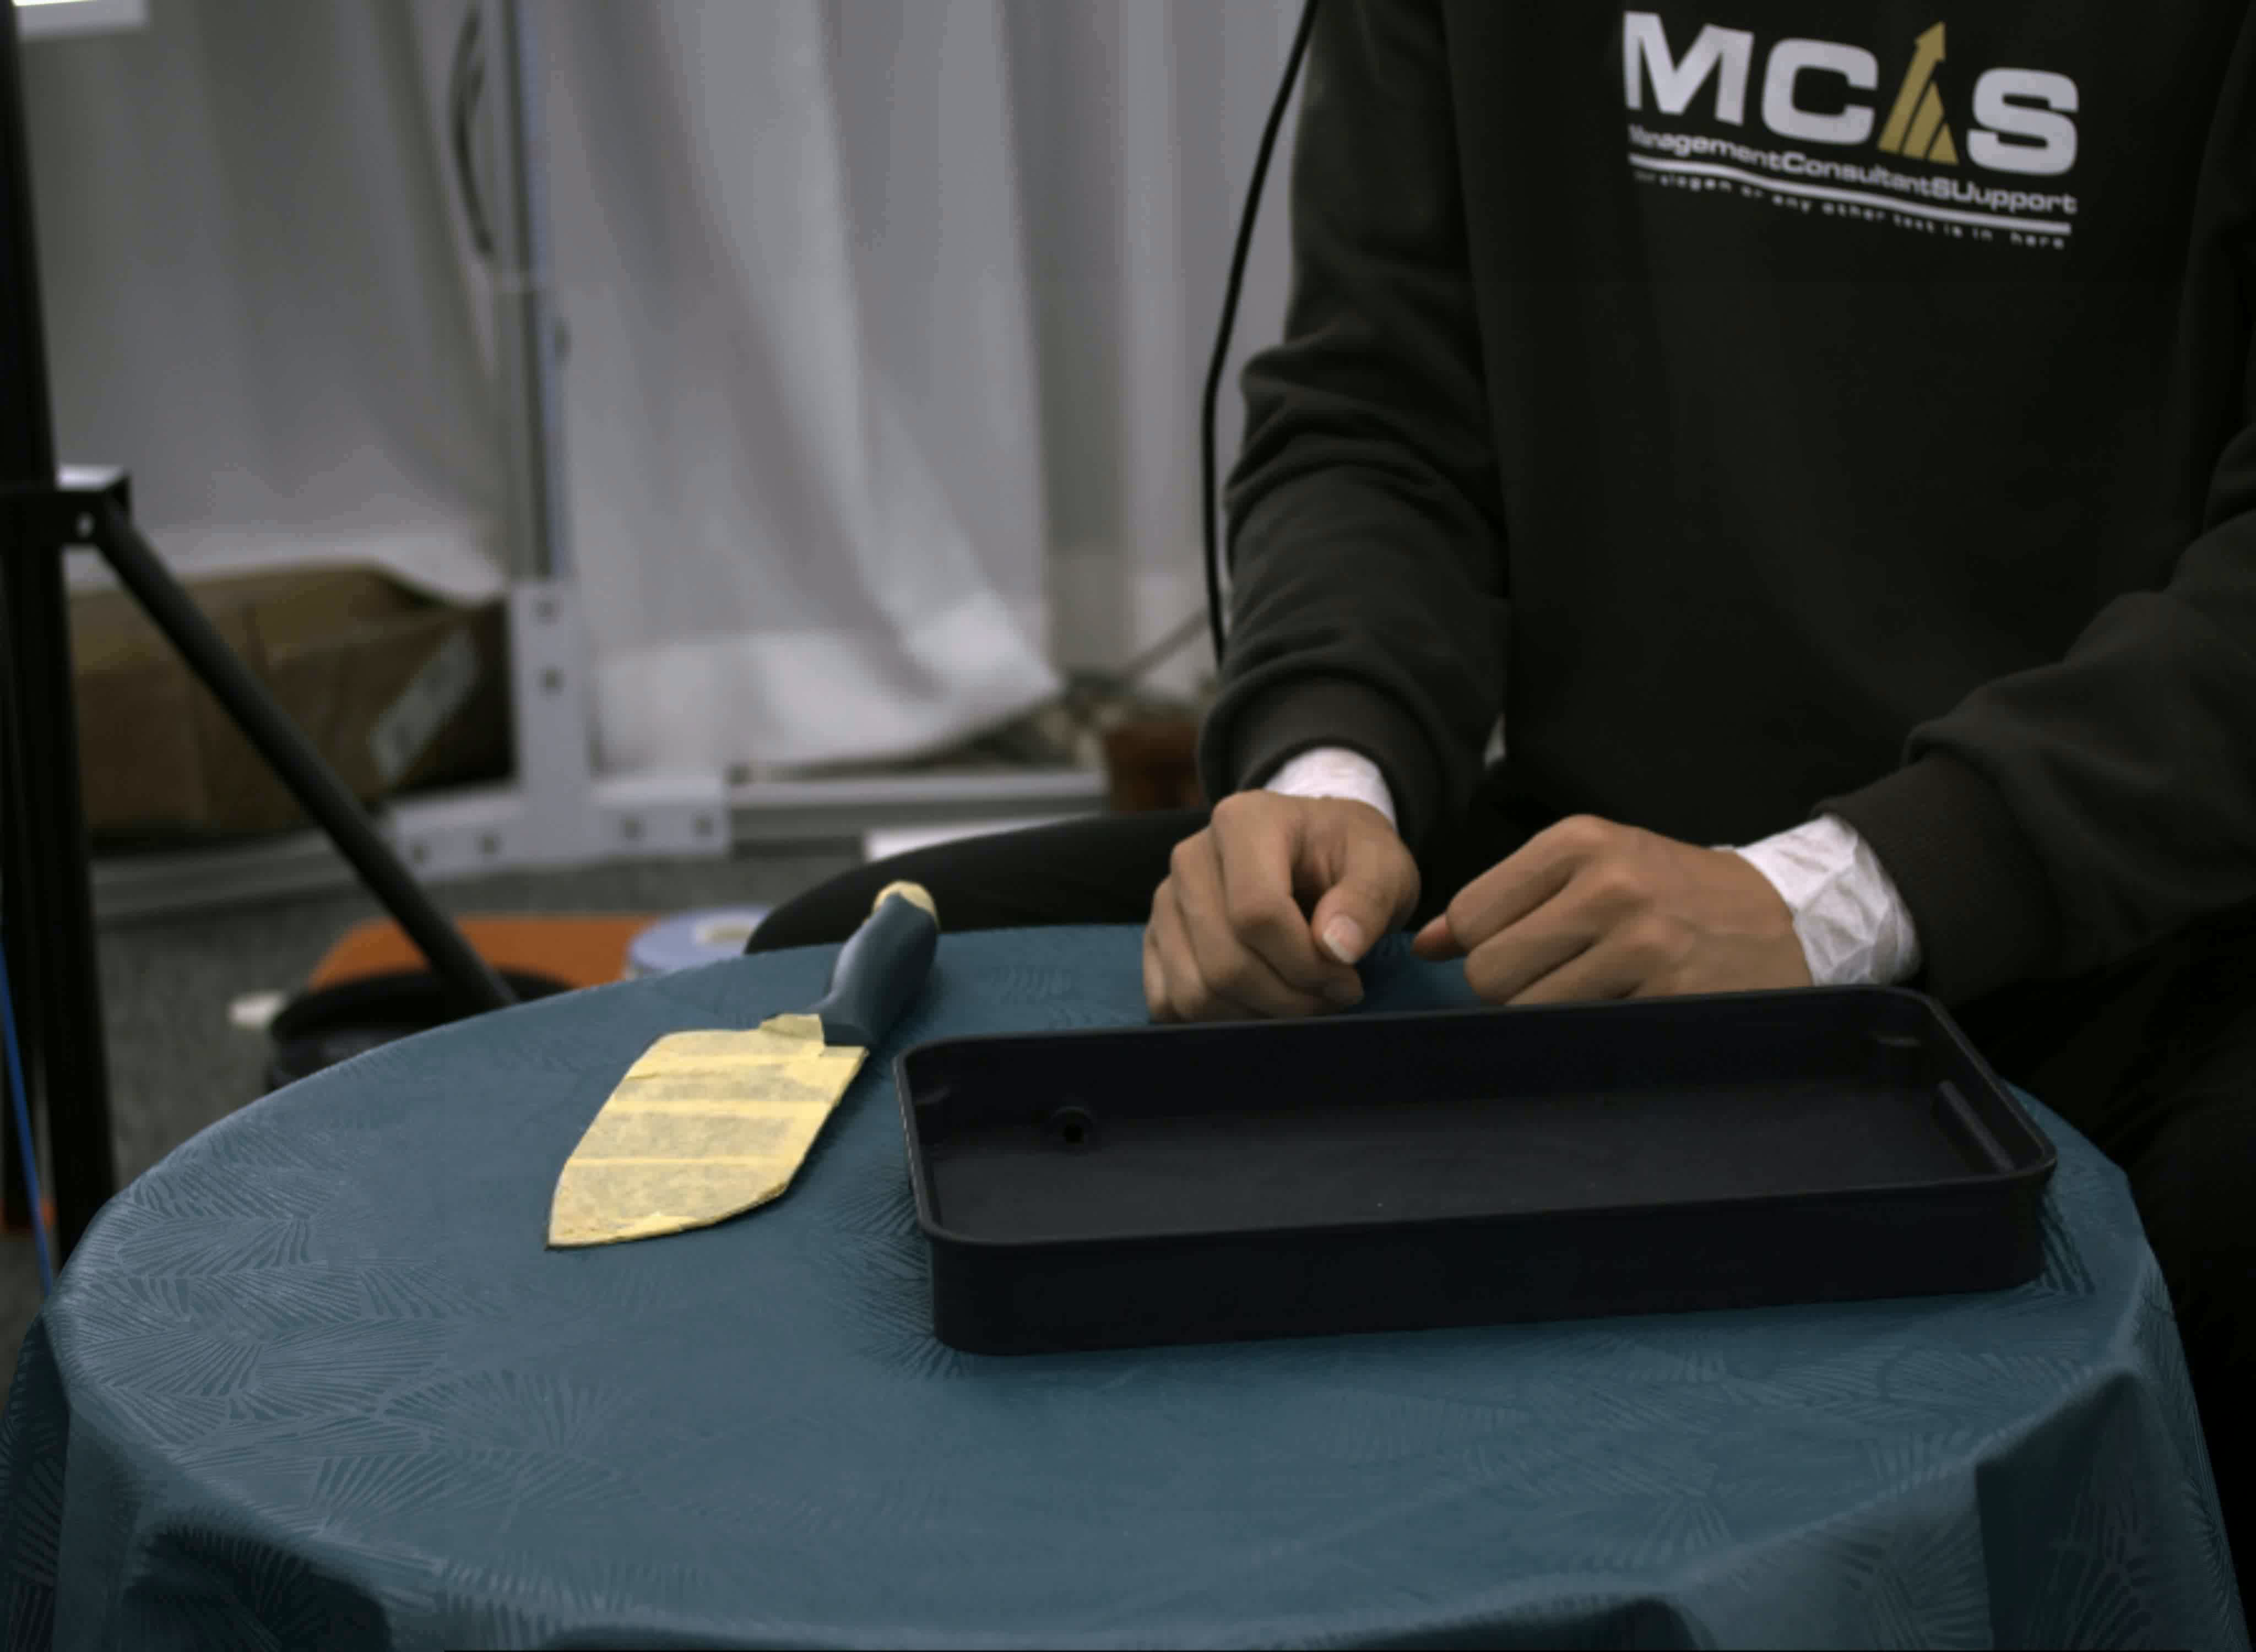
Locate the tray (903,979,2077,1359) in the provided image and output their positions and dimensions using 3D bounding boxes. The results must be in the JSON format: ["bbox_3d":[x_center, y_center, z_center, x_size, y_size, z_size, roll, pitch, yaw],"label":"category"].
[{"bbox_3d":[0.099,0.096,1.524,0.315,0.037,0.186,-4,15,-5],"label":"tray"}]

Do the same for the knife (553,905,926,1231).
[{"bbox_3d":[-0.117,0.076,1.669,0.081,0.027,0.287,3,17,13],"label":"knife"}]
